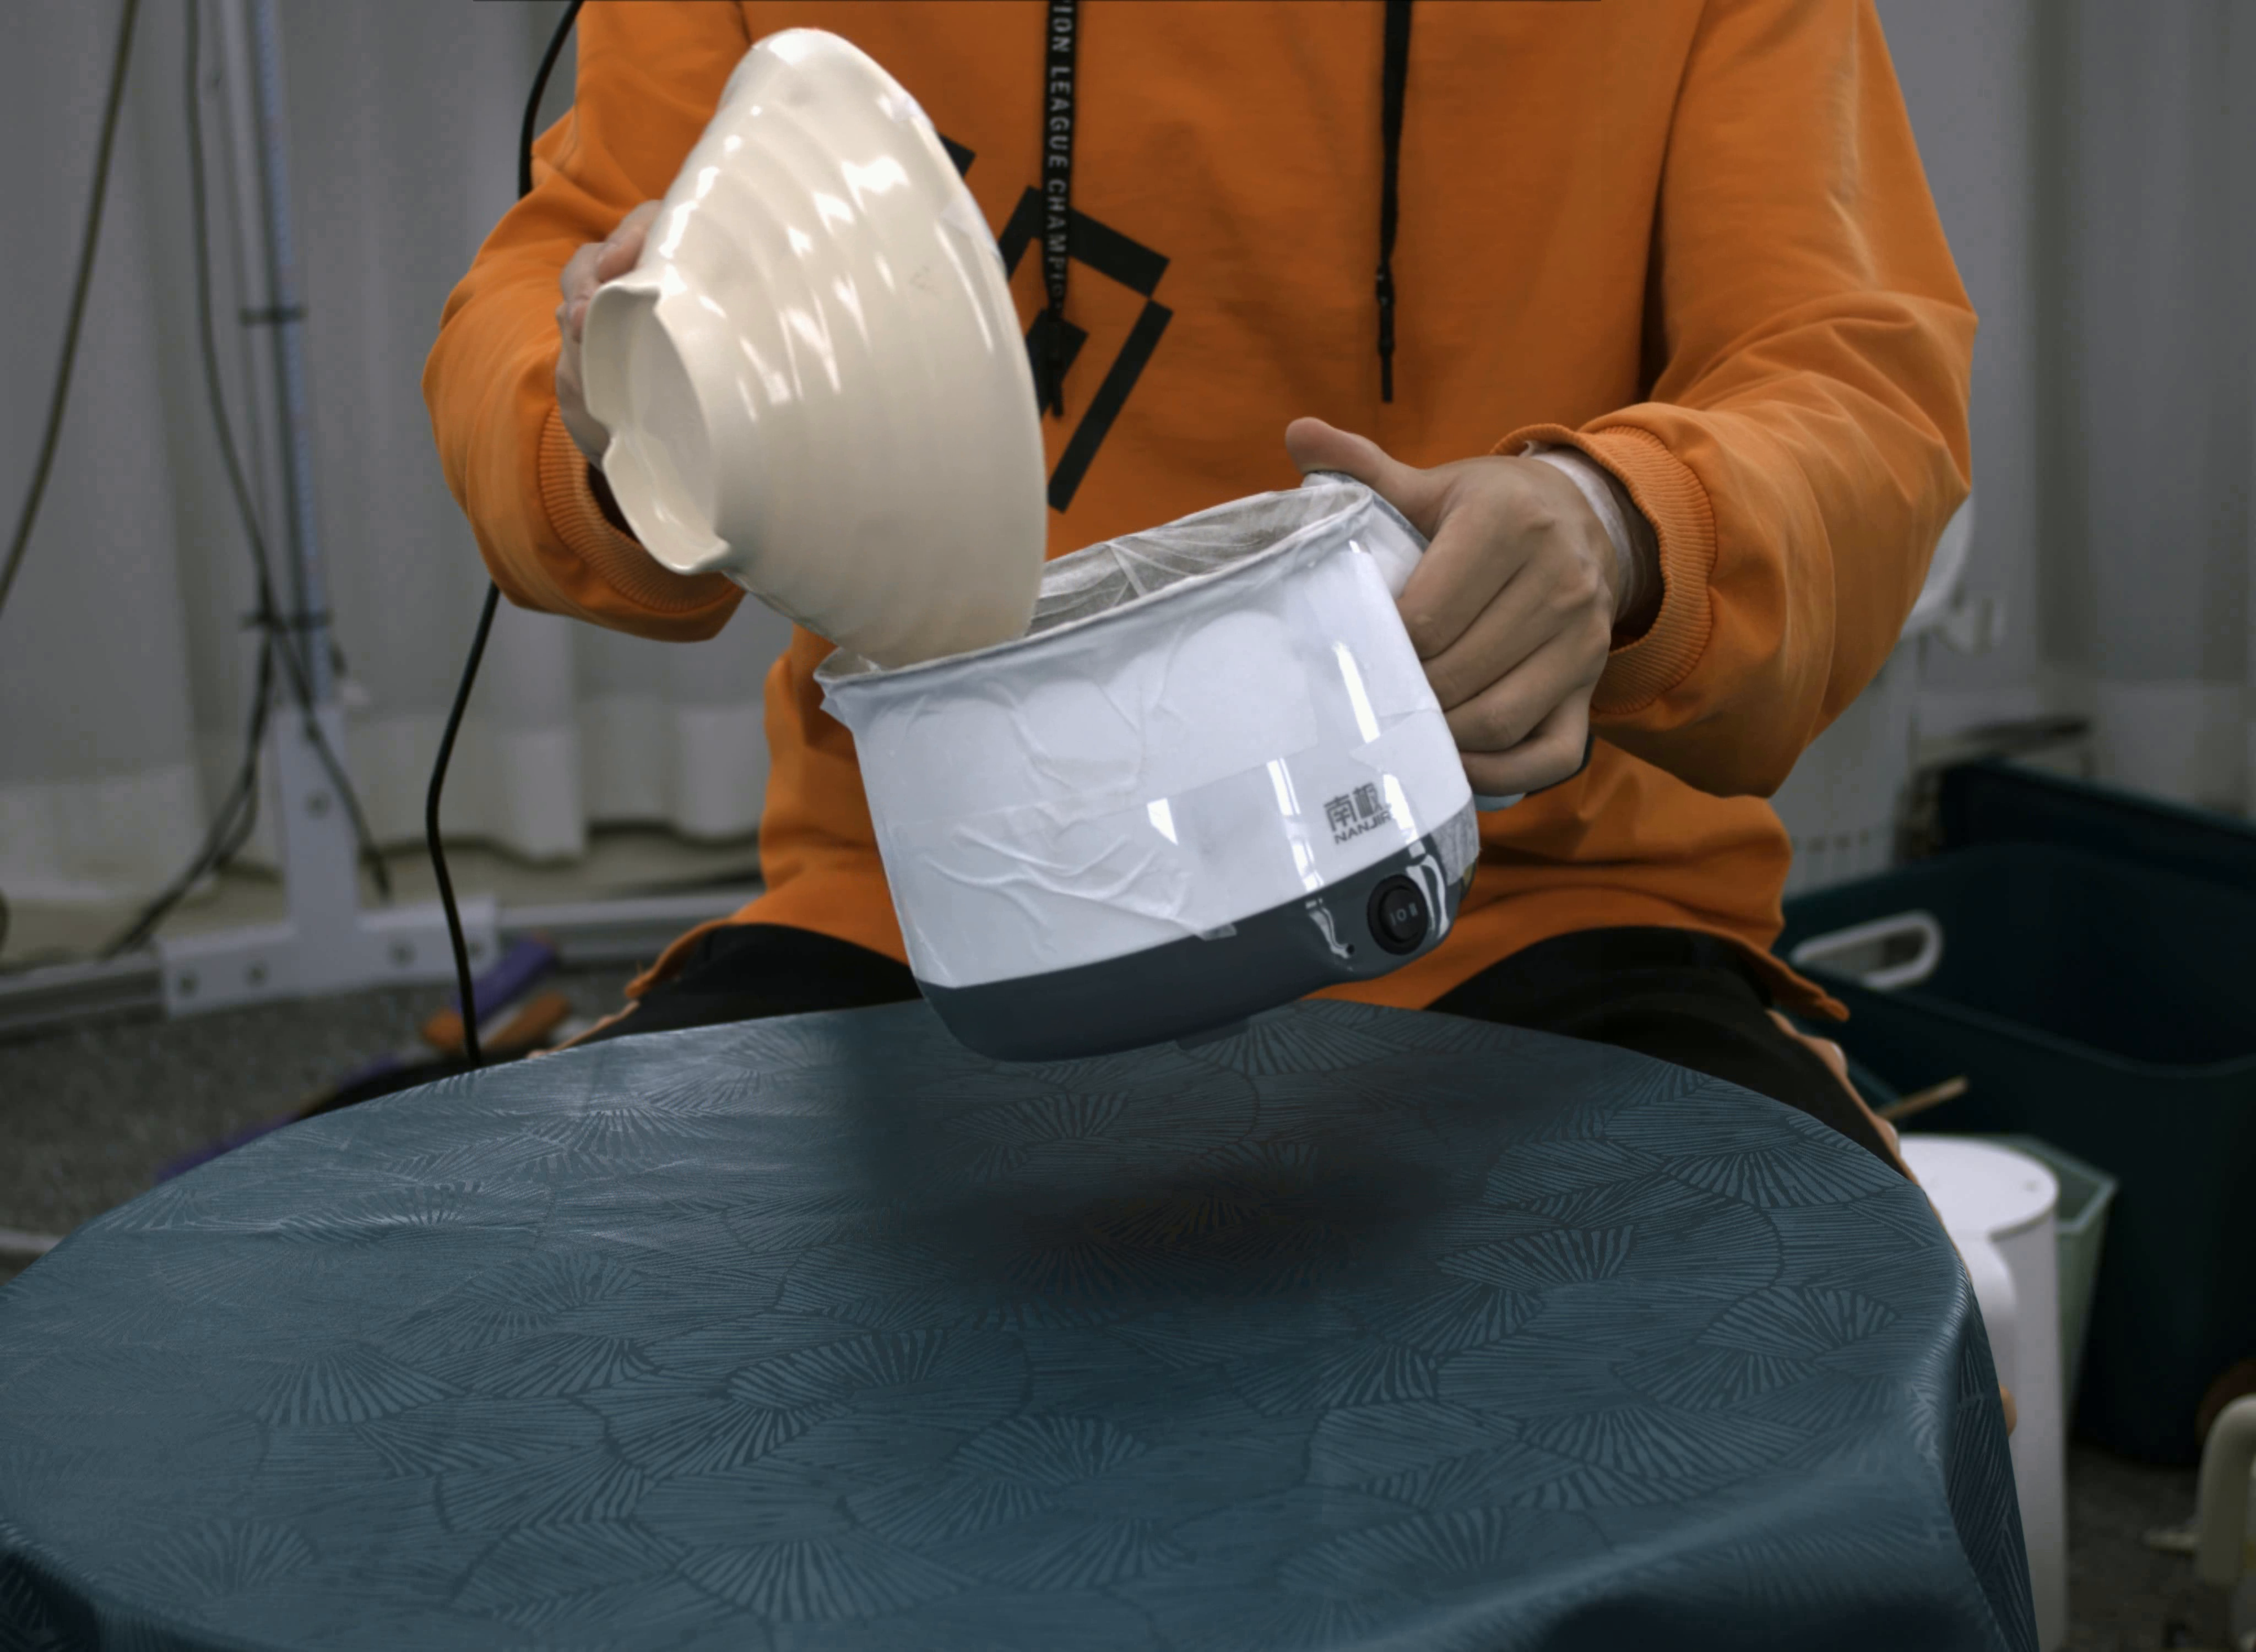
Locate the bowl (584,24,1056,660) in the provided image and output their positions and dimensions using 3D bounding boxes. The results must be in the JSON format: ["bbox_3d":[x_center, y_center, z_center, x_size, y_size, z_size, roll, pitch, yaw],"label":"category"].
[{"bbox_3d":[-0.105,-0.126,1.598,0.078,0.203,0.205,-16,19,-28],"label":"bowl"}]

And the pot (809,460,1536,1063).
[{"bbox_3d":[0.027,-0.024,1.664,0.234,0.136,0.179,-26,12,-40],"label":"pot"}]
